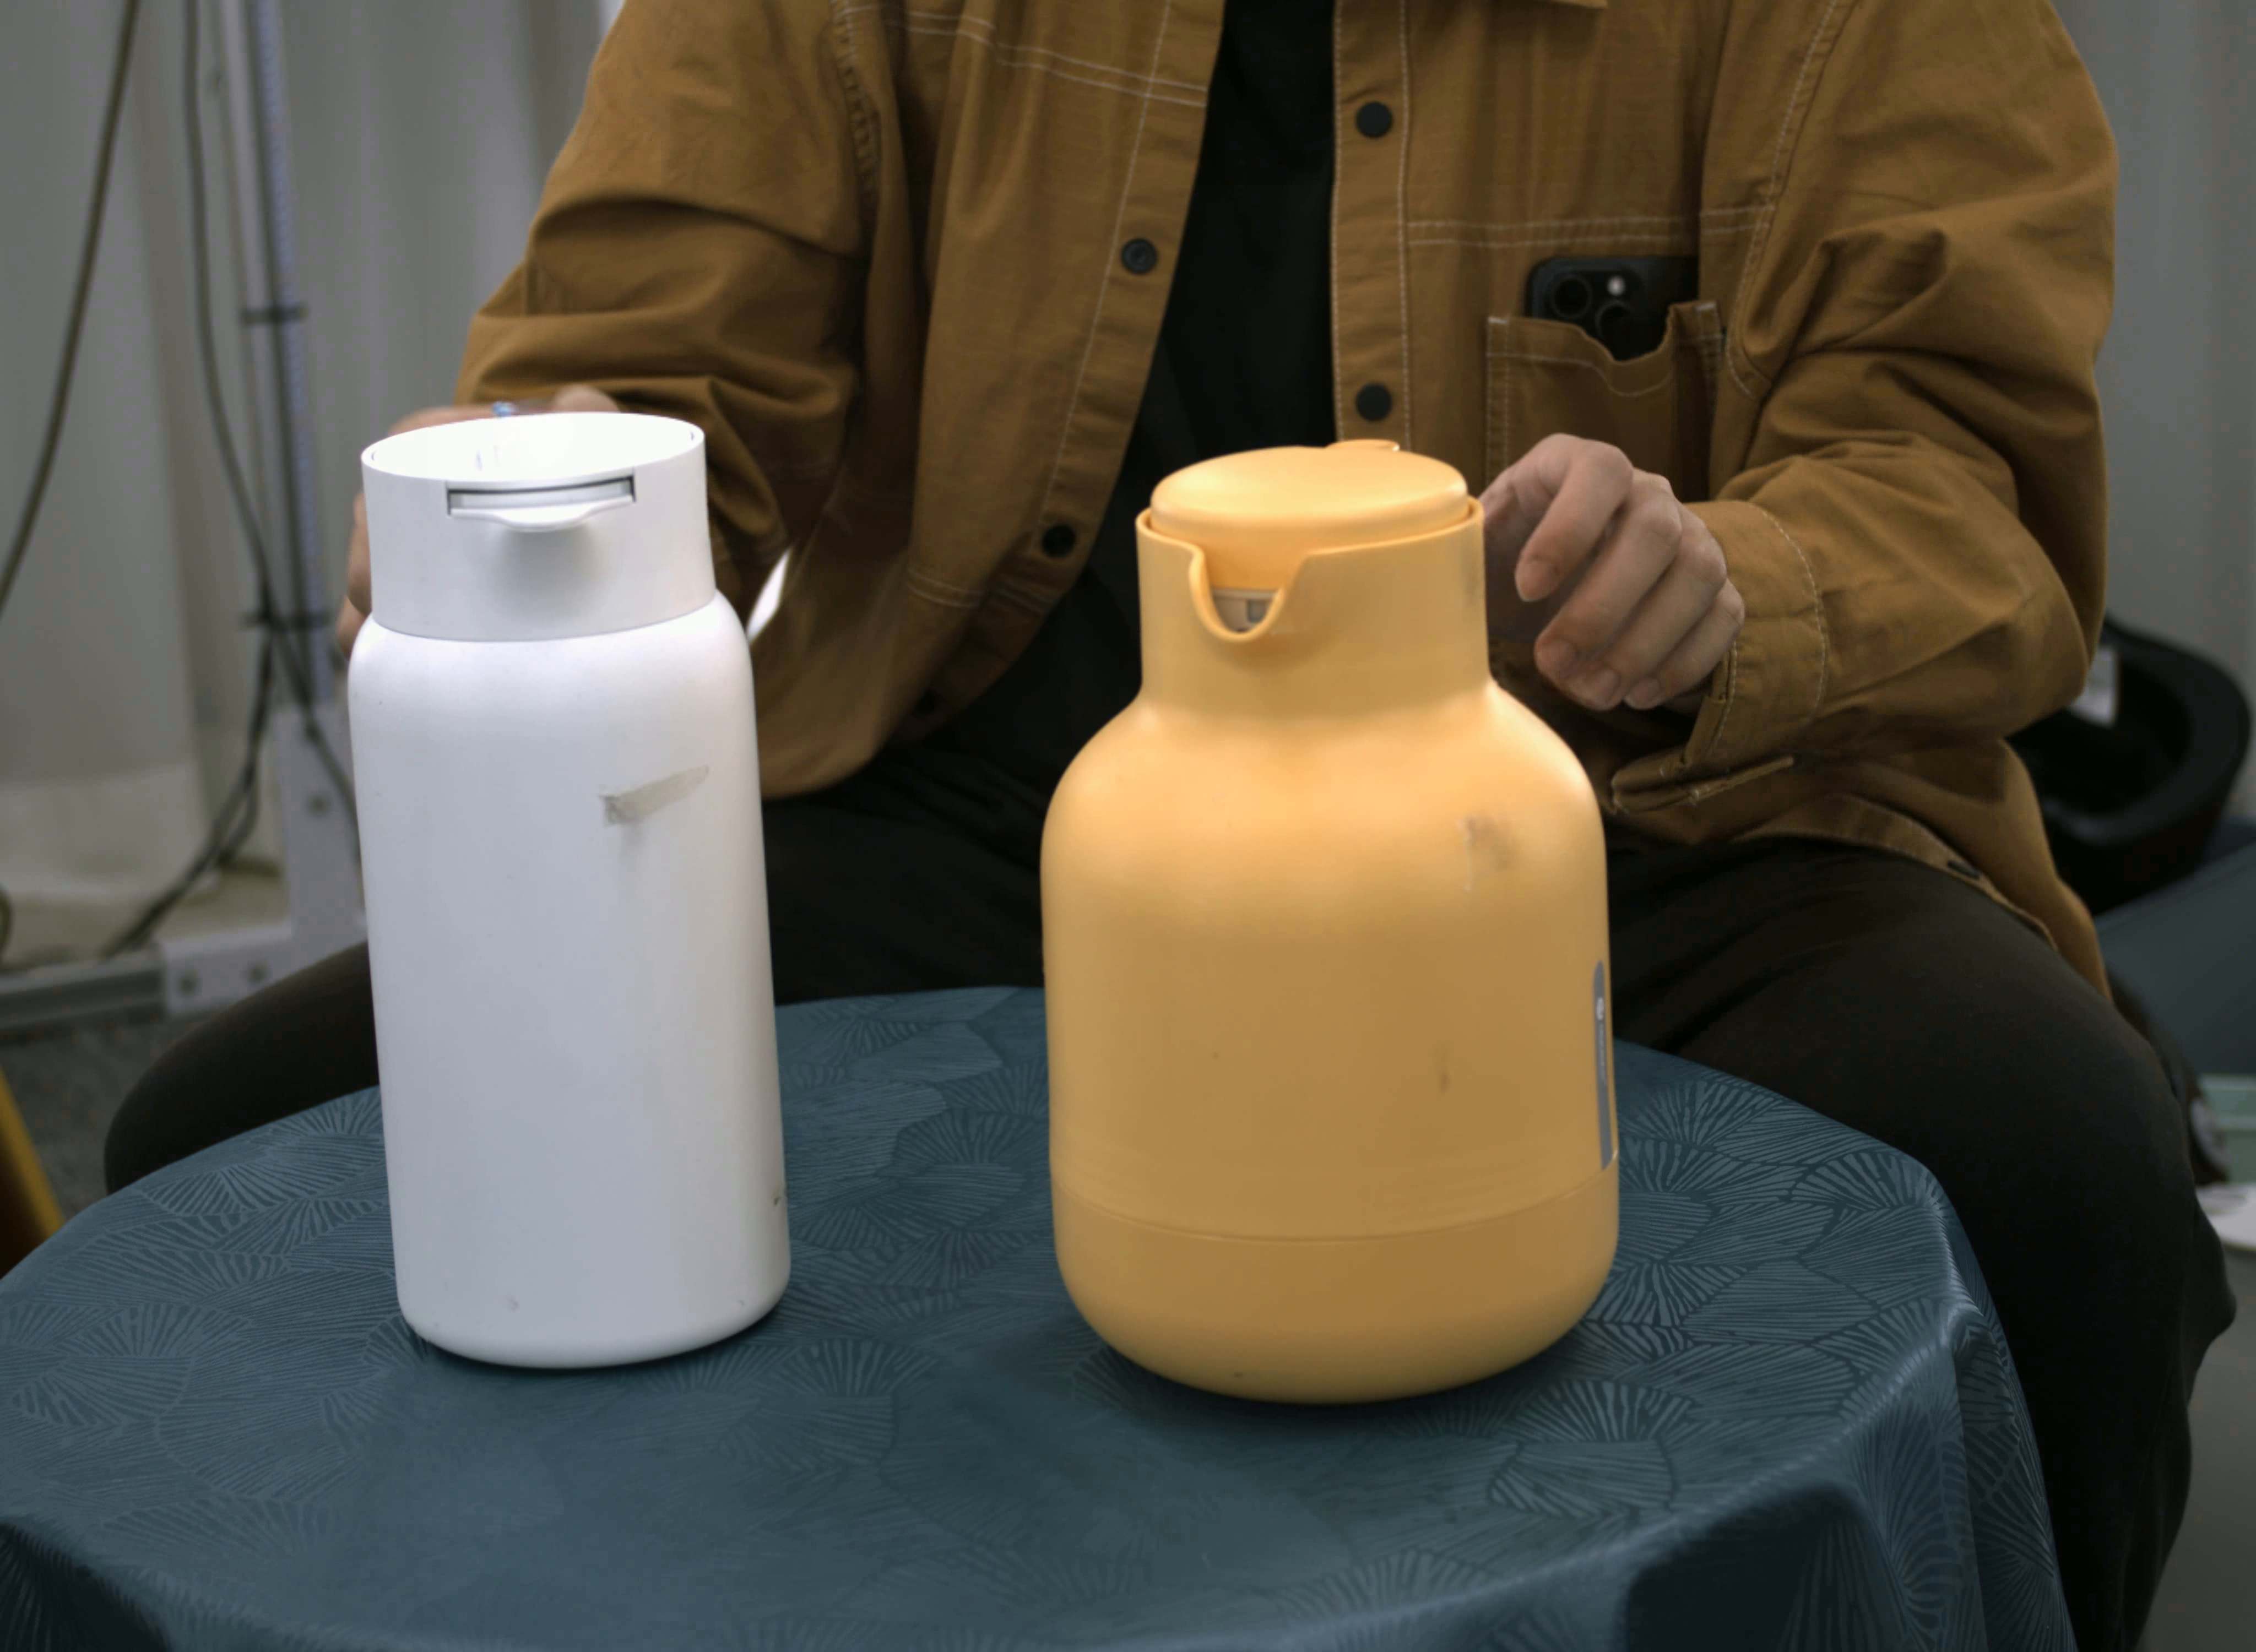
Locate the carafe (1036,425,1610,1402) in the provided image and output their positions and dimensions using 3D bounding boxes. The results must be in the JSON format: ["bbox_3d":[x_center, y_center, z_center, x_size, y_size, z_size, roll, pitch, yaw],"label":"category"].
[{"bbox_3d":[0.062,0.016,1.563,0.163,0.259,0.203,6,18,20],"label":"carafe"}]

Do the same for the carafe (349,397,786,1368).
[{"bbox_3d":[-0.168,0.012,1.615,0.123,0.268,0.174,-6,14,-8],"label":"carafe"}]
